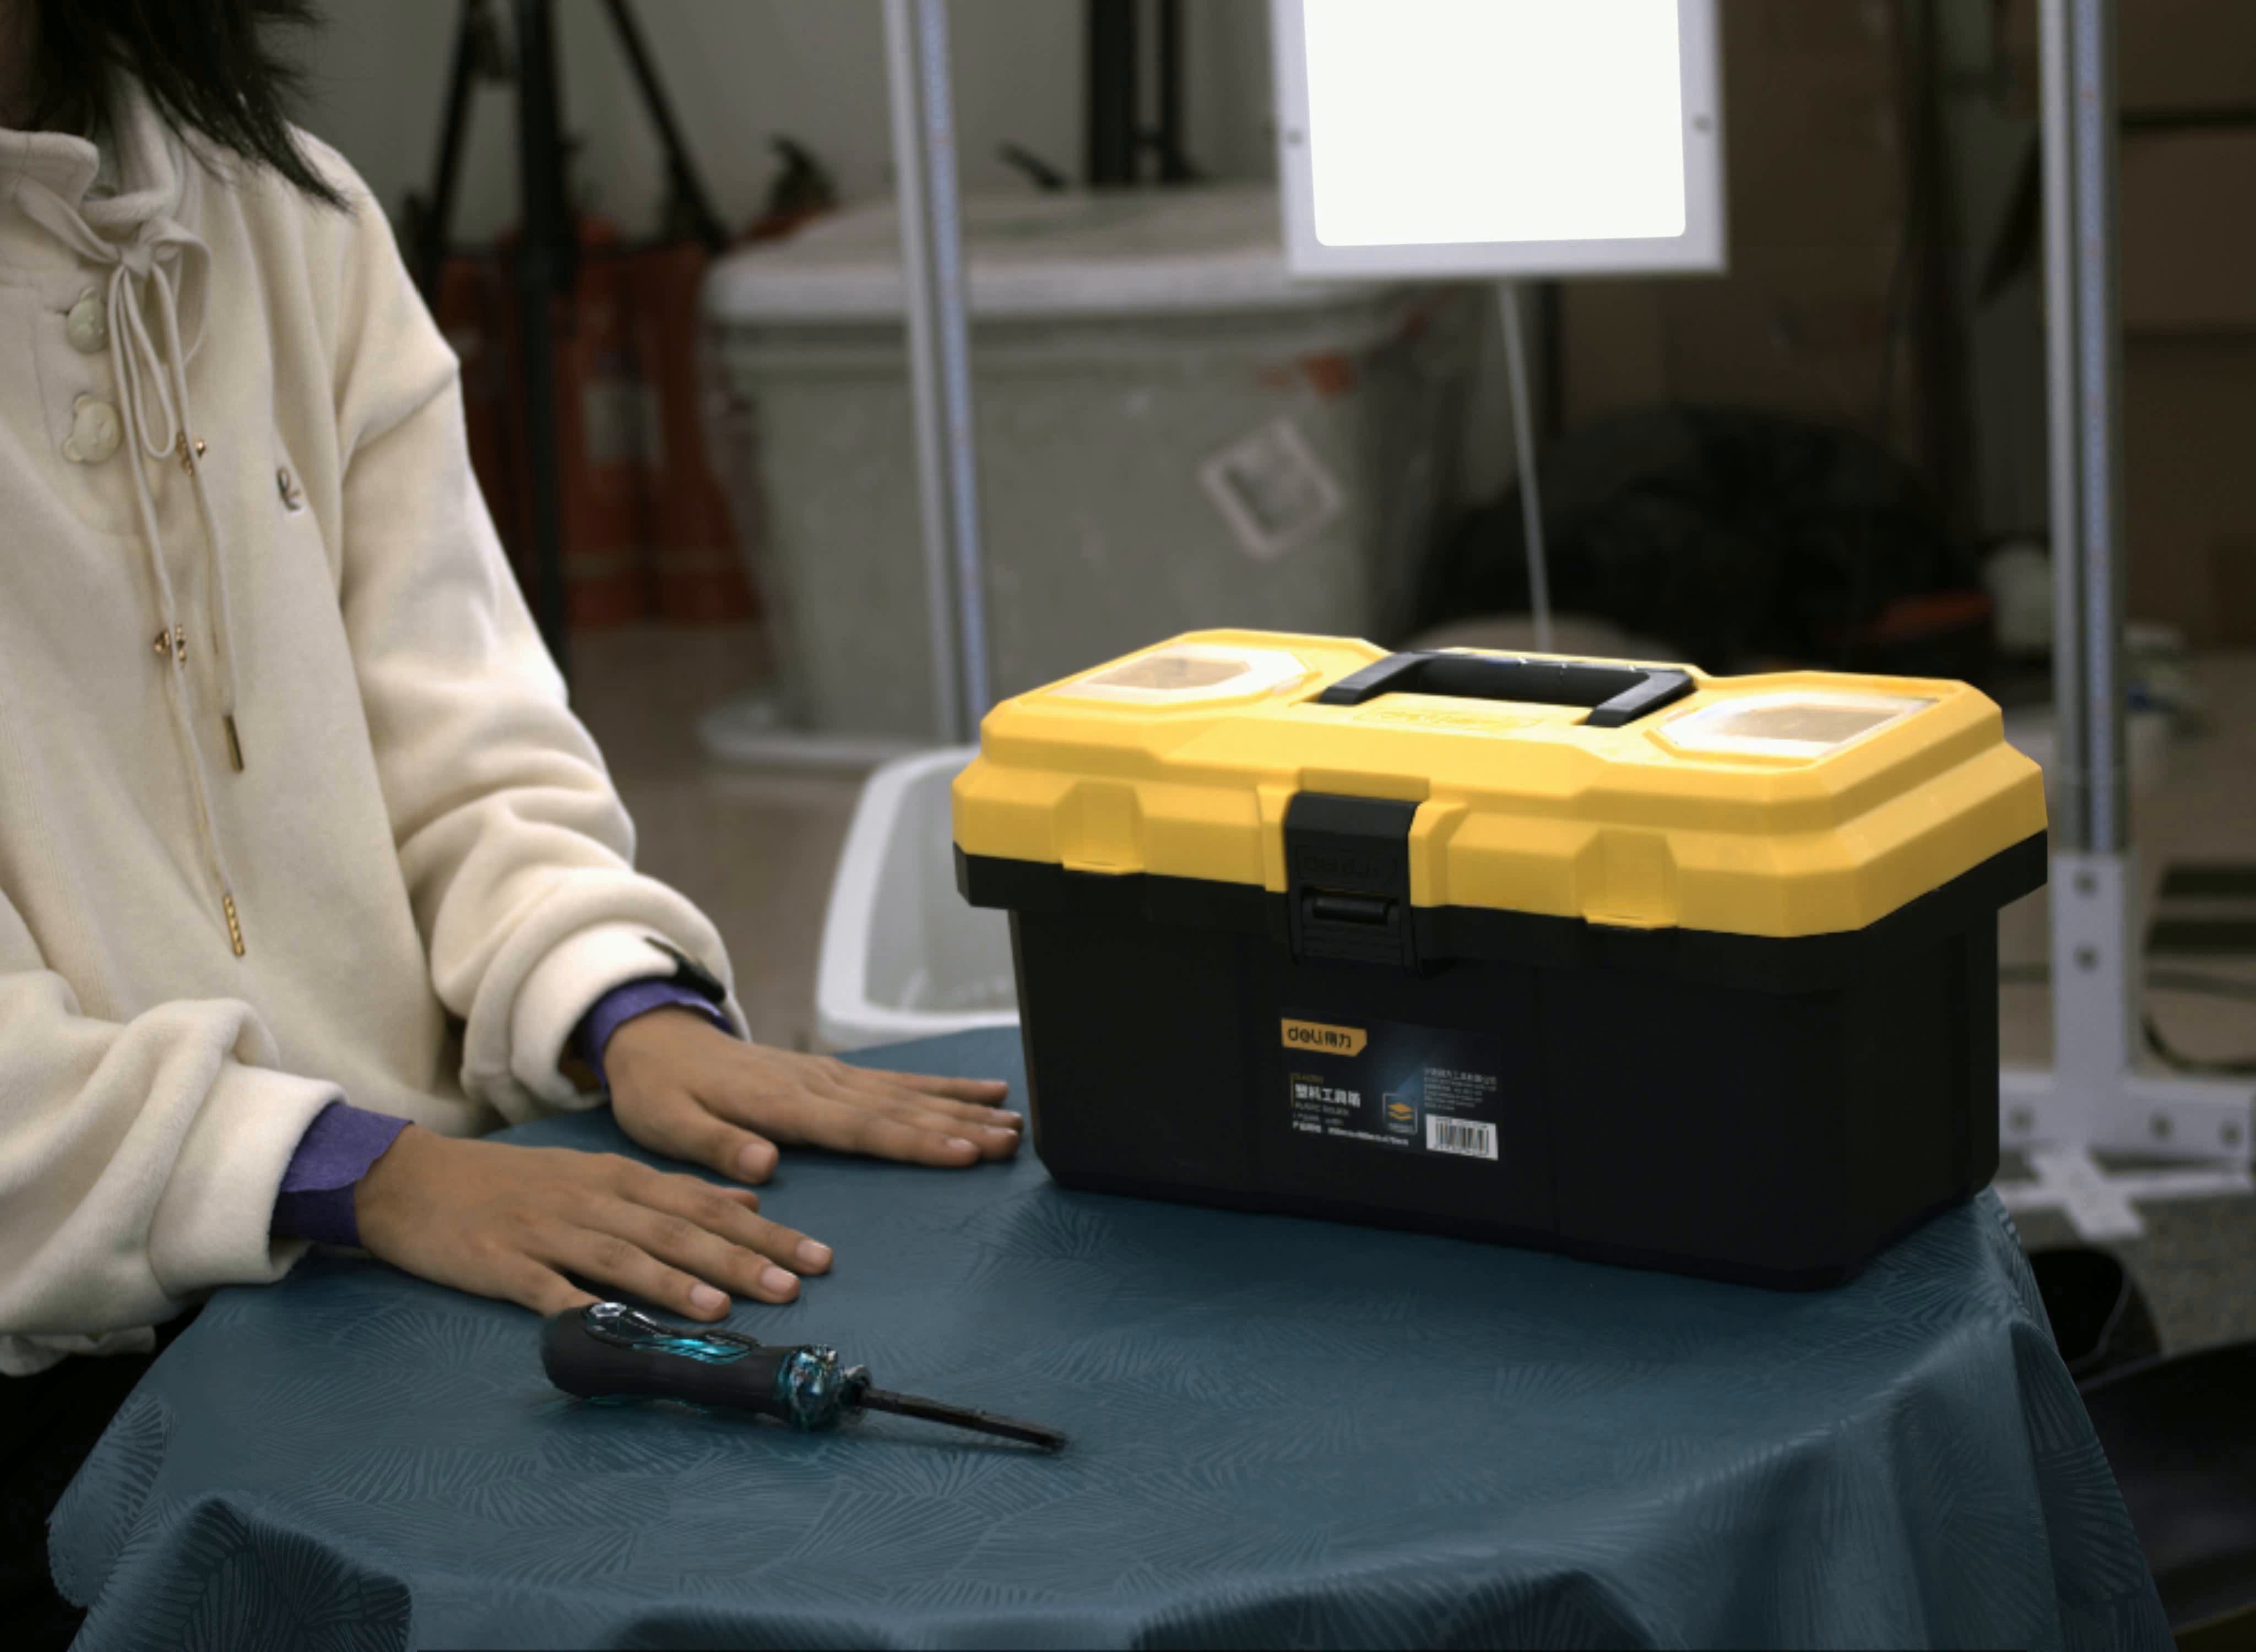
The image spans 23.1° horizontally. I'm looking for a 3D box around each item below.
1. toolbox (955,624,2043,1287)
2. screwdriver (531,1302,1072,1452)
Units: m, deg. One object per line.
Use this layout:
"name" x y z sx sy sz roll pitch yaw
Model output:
"toolbox" 0.123 0.038 1.848 0.359 0.173 0.177 6 17 37
"screwdriver" -0.100 0.174 1.696 0.193 0.034 0.033 8 18 29
